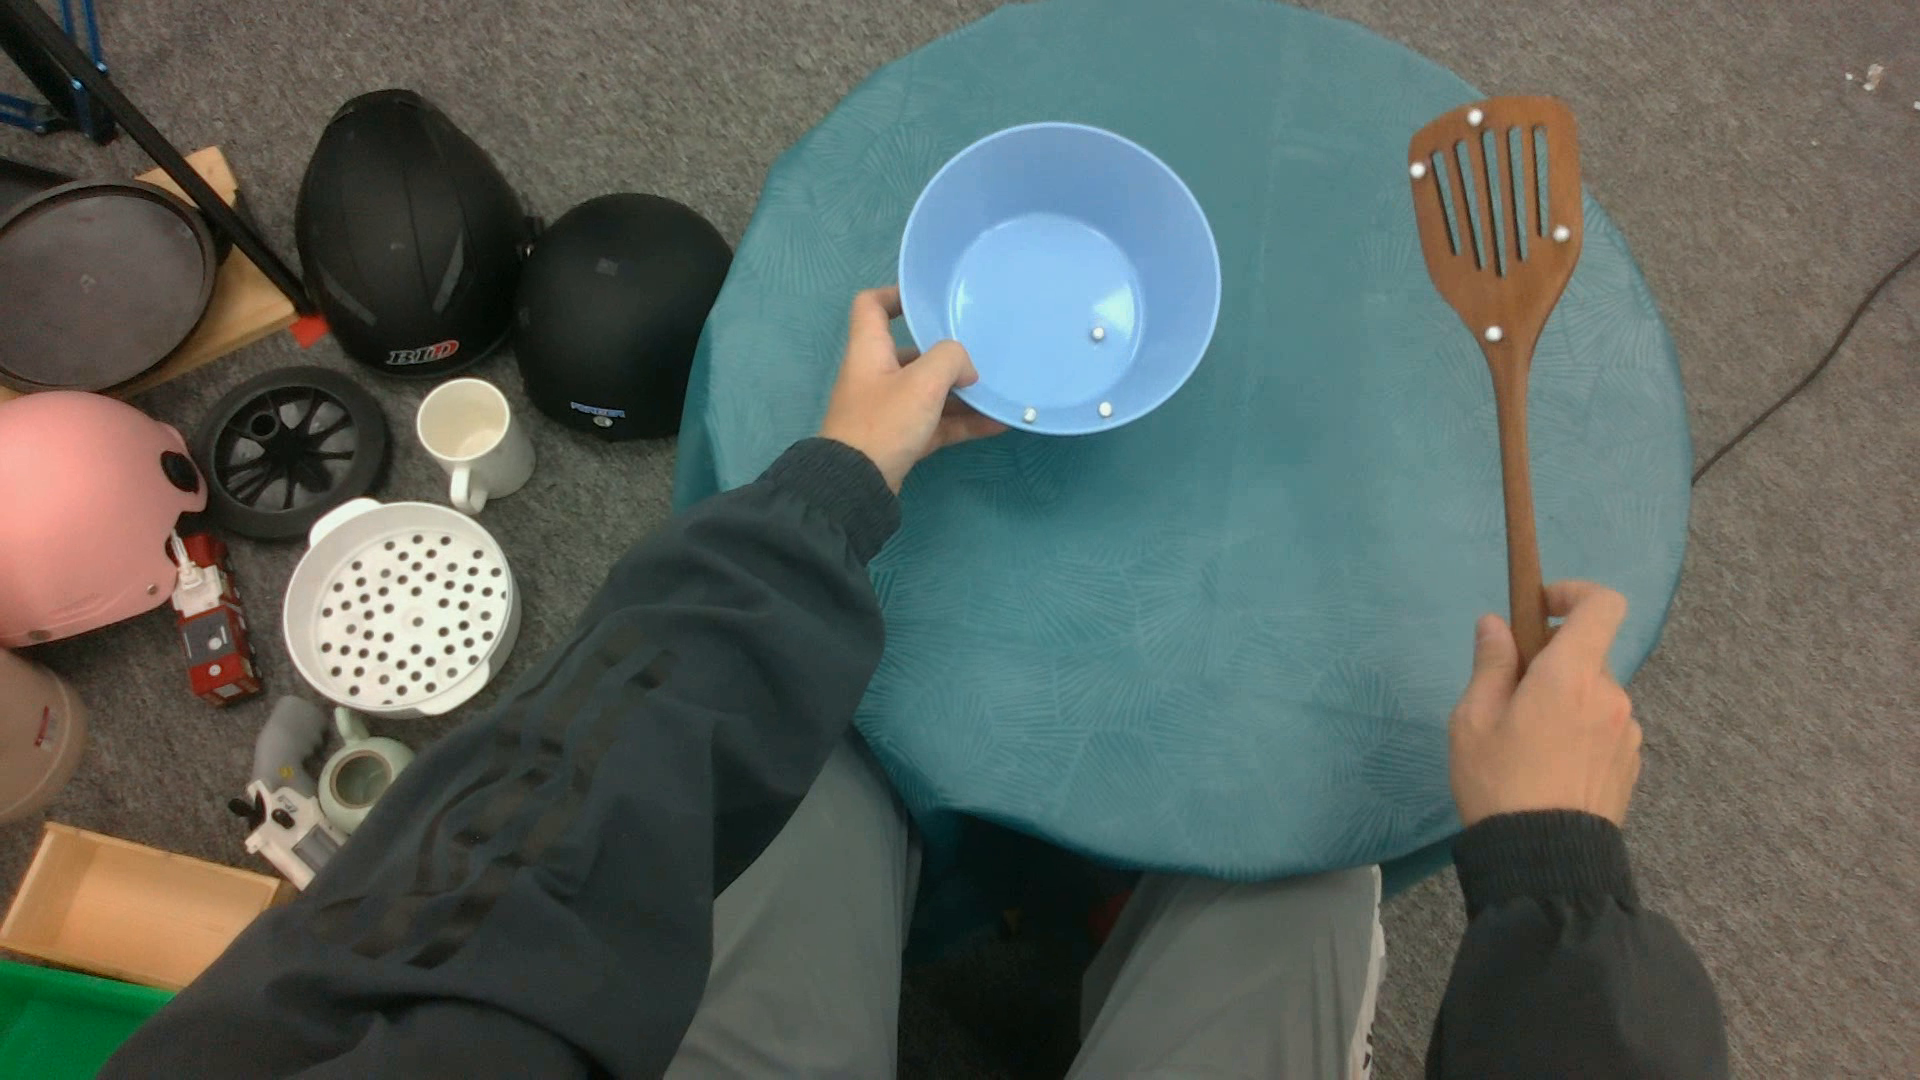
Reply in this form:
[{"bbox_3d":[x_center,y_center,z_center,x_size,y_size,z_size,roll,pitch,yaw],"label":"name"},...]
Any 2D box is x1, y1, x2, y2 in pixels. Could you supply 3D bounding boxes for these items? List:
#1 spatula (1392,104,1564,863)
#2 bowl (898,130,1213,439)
[{"bbox_3d":[0.278,-0.030,0.708,0.085,0.024,0.387,-6,85,38],"label":"spatula"},{"bbox_3d":[0.051,-0.138,0.787,0.176,0.070,0.176,1,82,-4],"label":"bowl"}]
